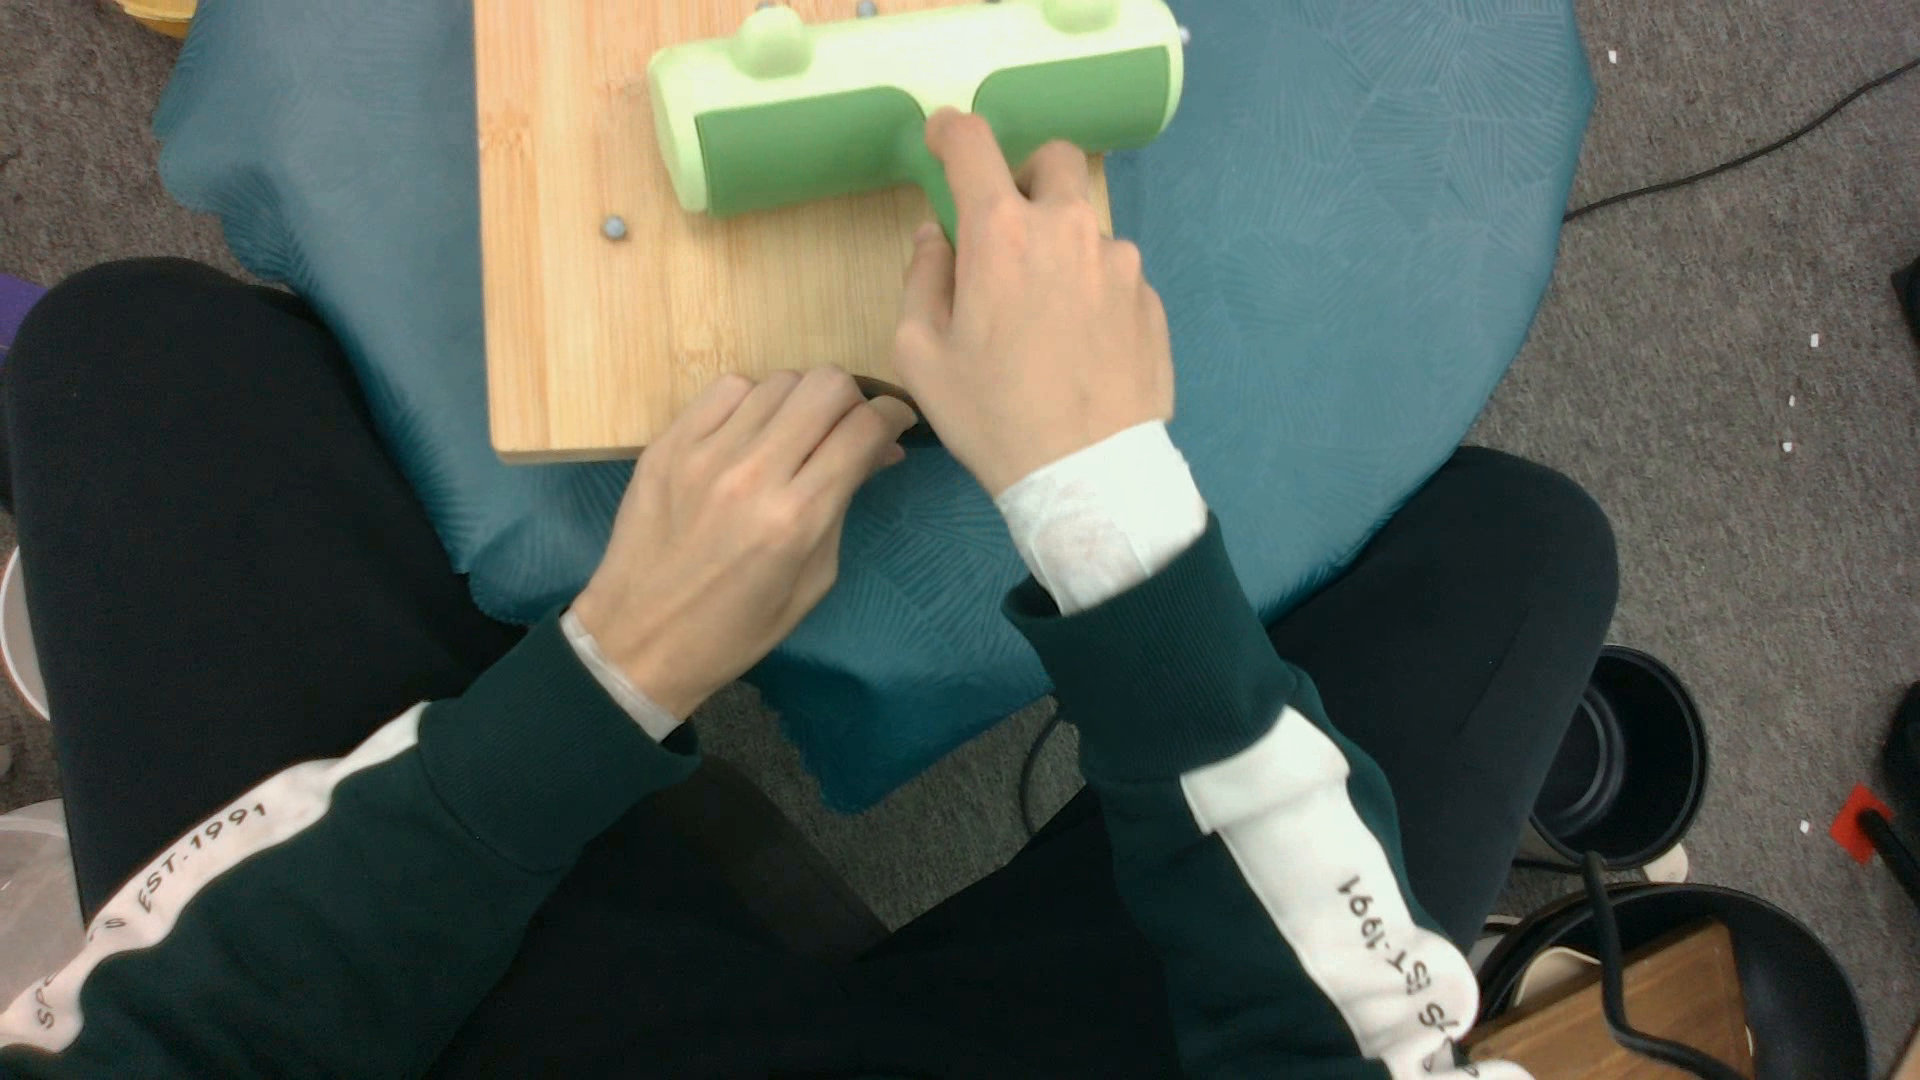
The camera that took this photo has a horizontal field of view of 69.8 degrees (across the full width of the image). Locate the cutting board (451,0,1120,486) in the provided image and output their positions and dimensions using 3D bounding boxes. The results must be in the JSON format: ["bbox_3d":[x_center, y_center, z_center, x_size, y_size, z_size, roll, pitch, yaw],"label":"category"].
[{"bbox_3d":[-0.077,-0.197,0.553,0.251,0.023,0.349,-6,77,-14],"label":"cutting board"}]

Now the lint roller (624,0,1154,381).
[{"bbox_3d":[-0.003,-0.140,0.482,0.199,0.082,0.184,-14,51,-16],"label":"lint roller"}]
